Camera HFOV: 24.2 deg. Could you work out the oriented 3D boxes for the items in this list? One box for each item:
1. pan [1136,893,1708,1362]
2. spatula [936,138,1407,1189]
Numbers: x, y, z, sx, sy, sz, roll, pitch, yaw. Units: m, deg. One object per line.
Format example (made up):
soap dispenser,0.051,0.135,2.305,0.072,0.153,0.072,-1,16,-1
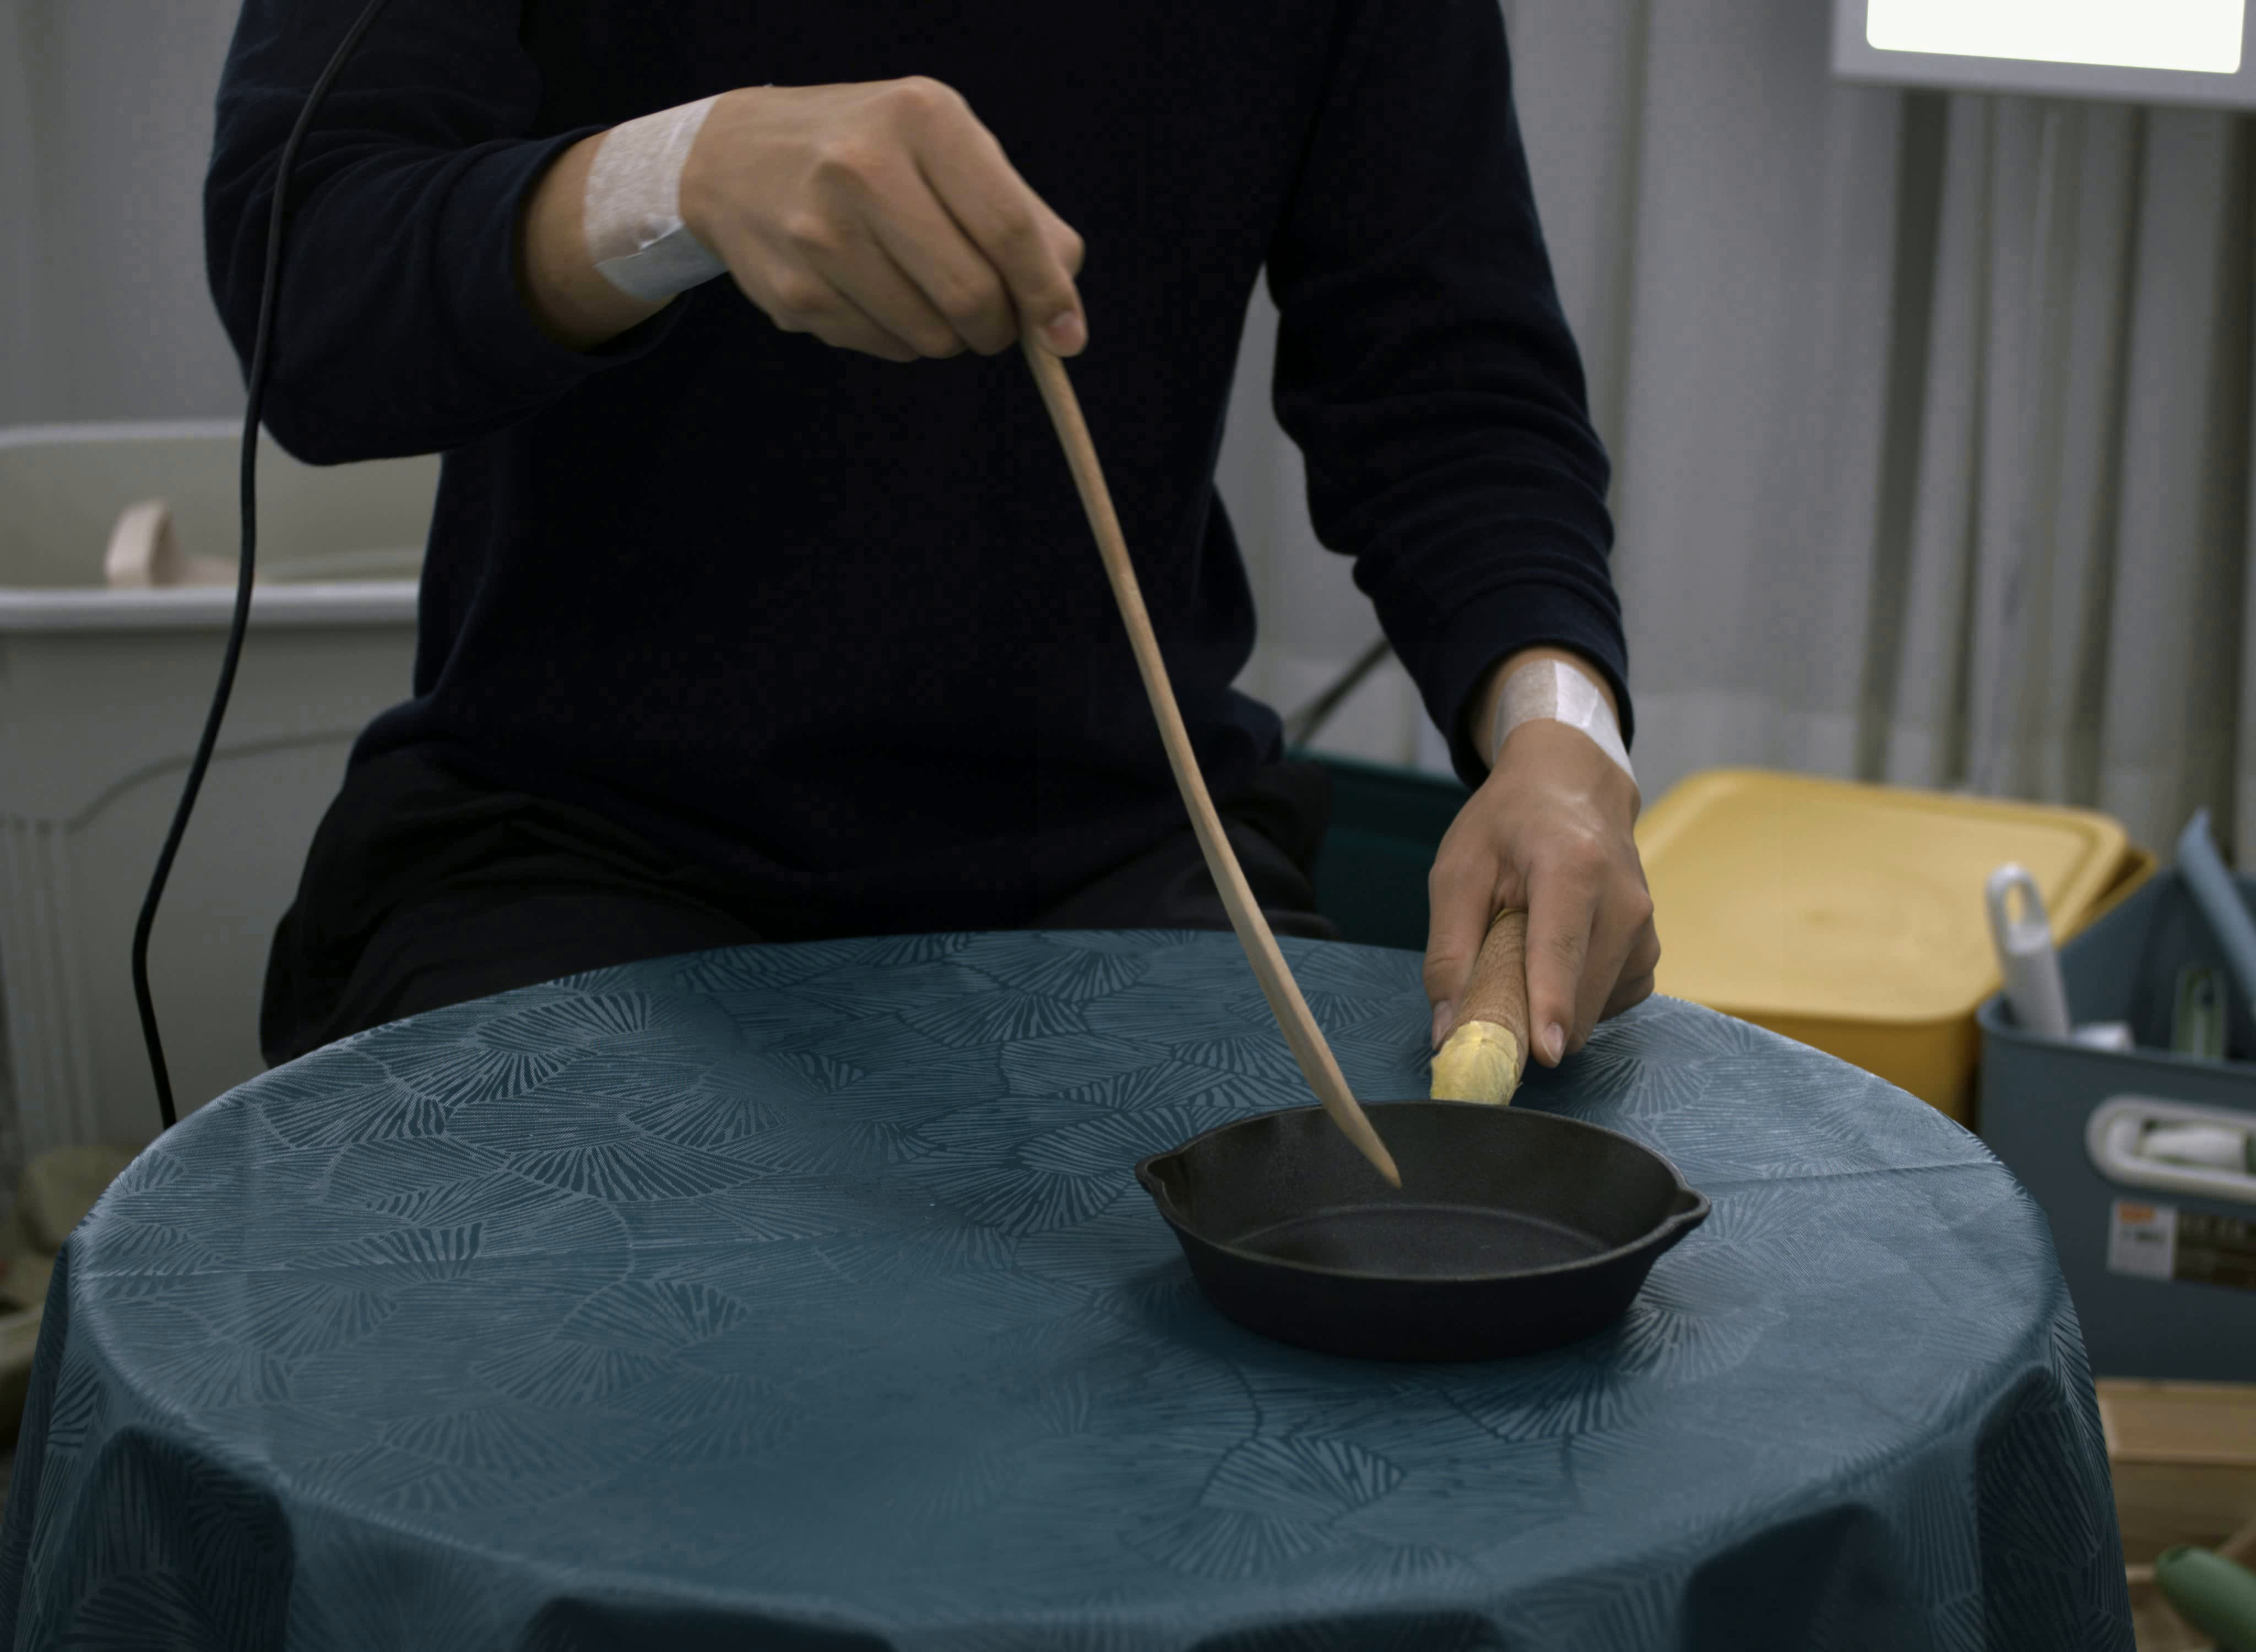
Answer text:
pan,0.105,0.089,1.616,0.167,0.050,0.323,4,18,13
spatula,0.010,-0.046,1.529,0.016,0.329,0.079,-22,7,-6
